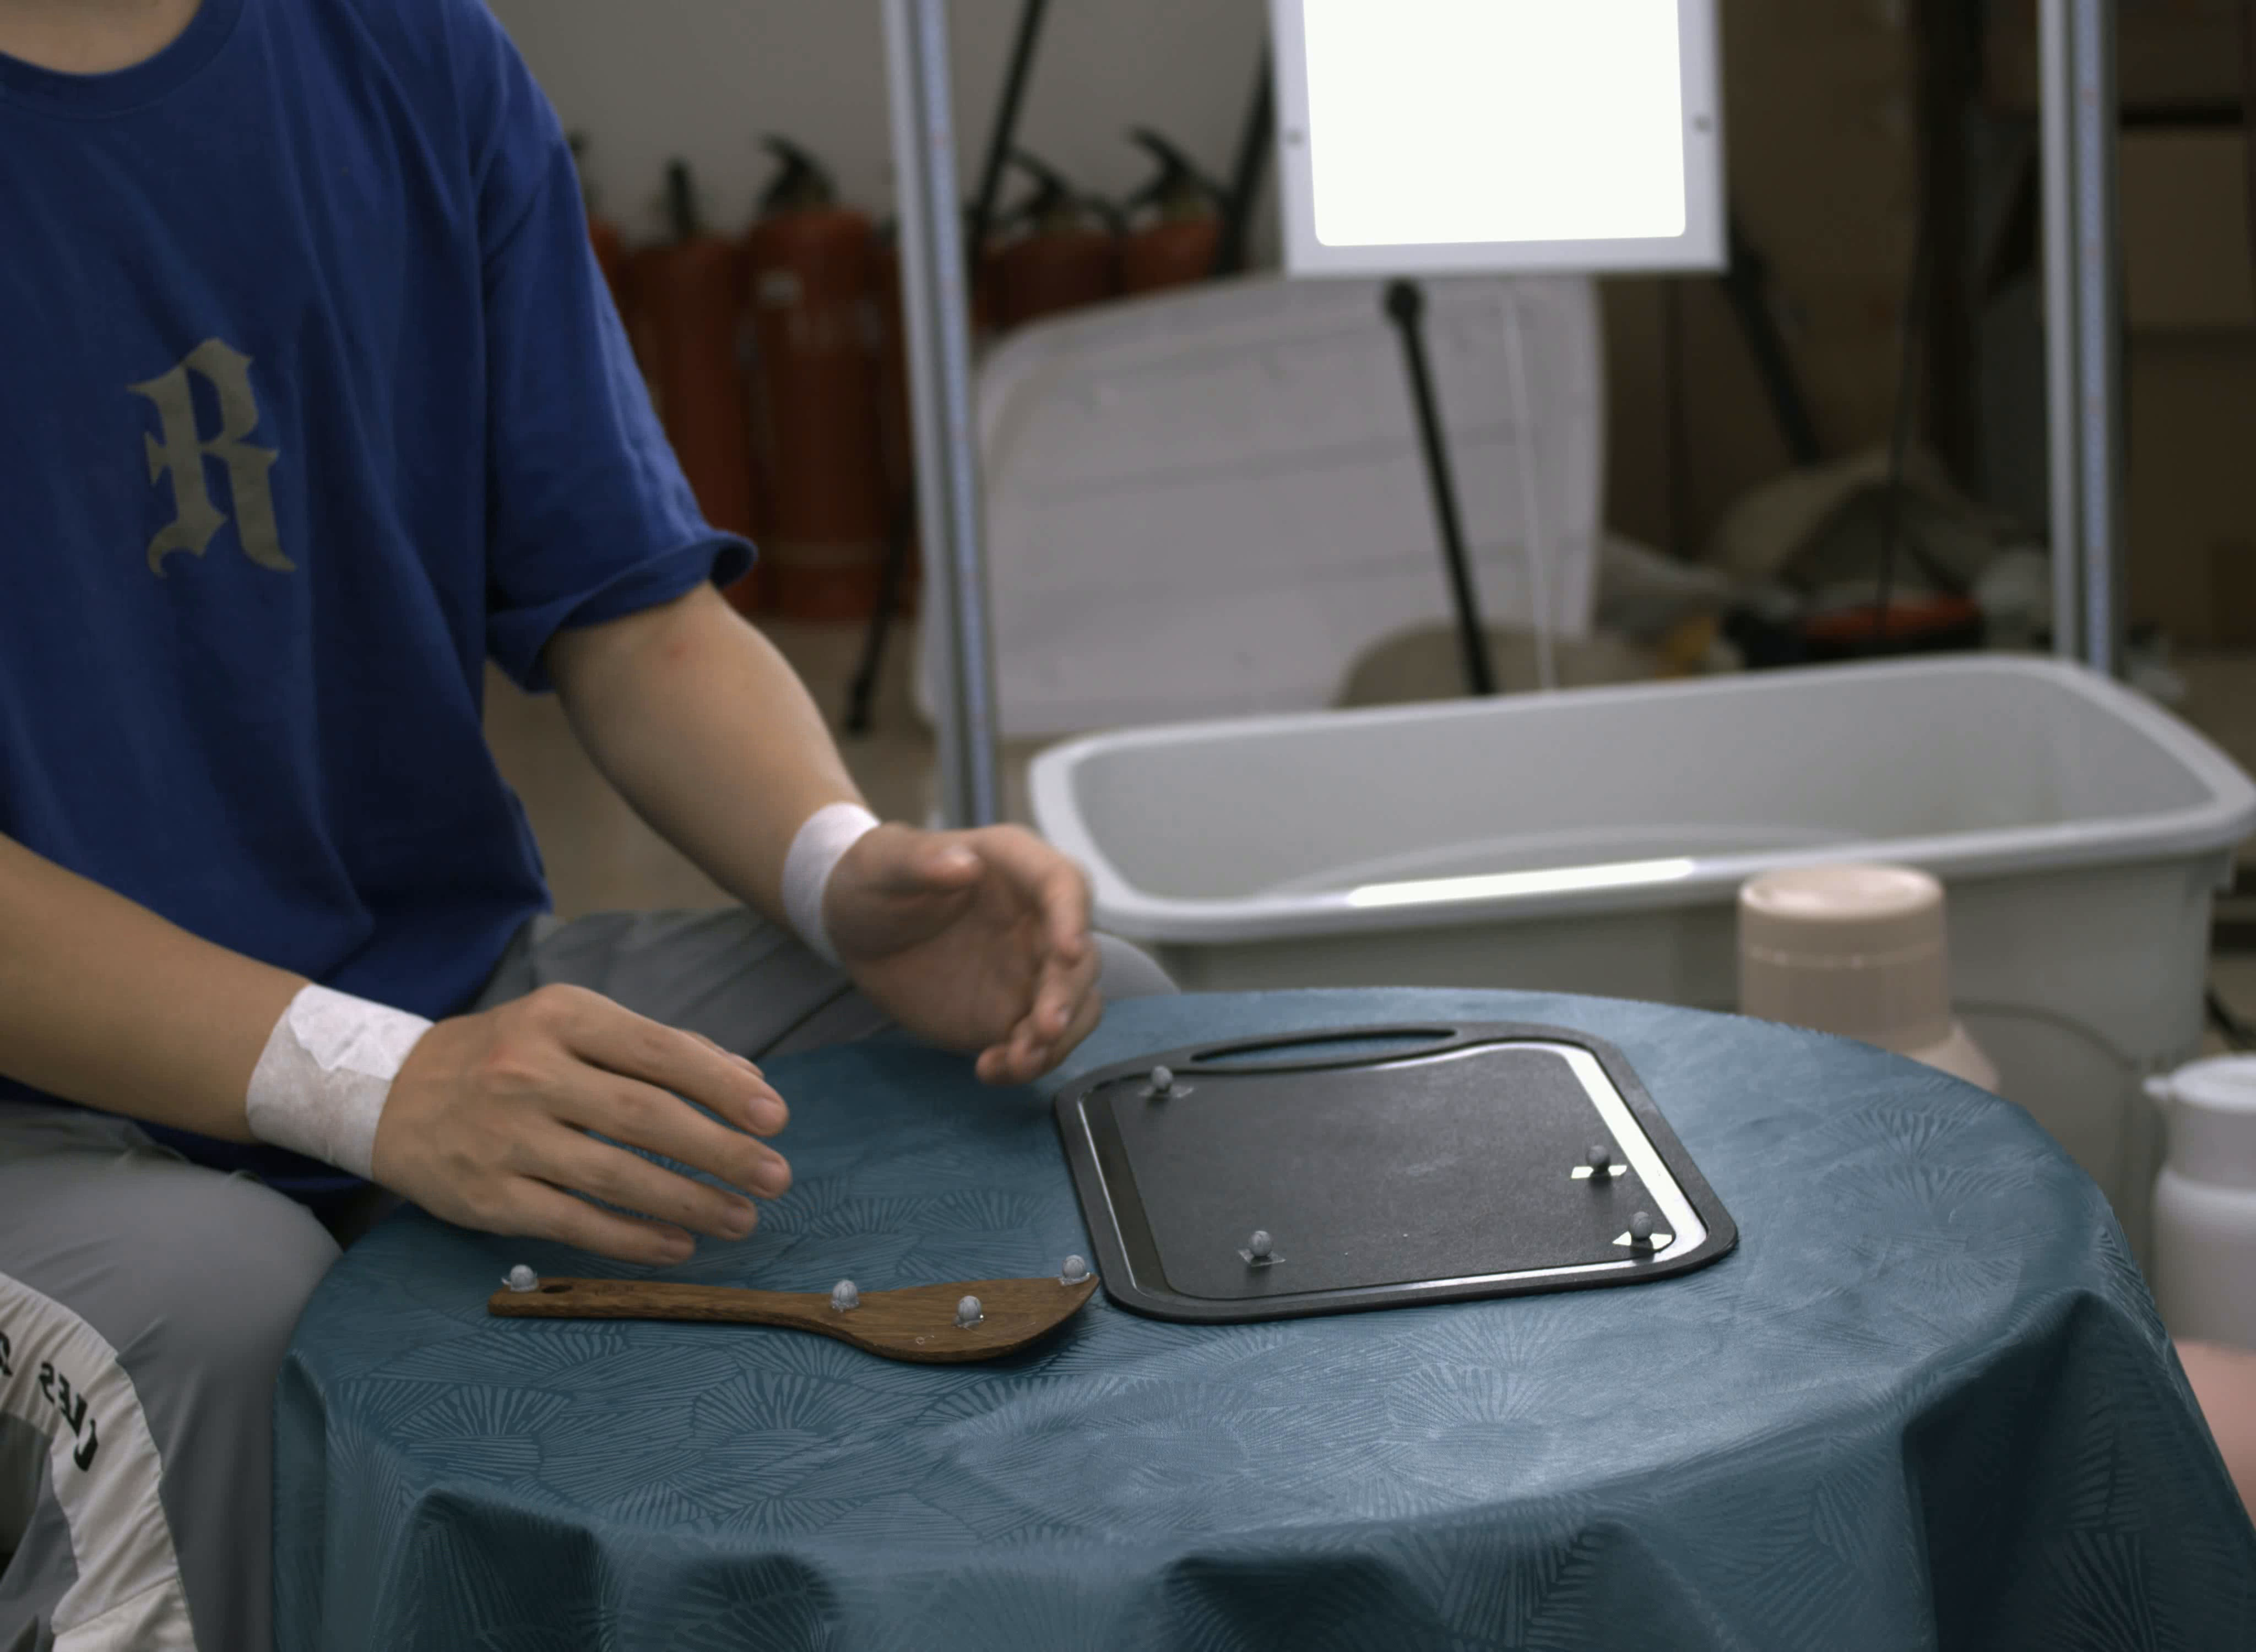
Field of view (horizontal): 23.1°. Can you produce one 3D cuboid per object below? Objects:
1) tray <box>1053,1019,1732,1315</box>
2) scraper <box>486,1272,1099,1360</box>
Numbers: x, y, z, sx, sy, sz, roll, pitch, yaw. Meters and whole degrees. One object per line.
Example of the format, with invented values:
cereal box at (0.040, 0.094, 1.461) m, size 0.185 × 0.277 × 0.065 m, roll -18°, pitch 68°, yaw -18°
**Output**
tray at (0.084, 0.112, 1.910) m, size 0.210 × 0.010 × 0.325 m, roll -6°, pitch 14°, yaw -3°
scraper at (-0.113, 0.156, 1.797) m, size 0.214 × 0.011 × 0.074 m, roll 0°, pitch 14°, yaw 25°
